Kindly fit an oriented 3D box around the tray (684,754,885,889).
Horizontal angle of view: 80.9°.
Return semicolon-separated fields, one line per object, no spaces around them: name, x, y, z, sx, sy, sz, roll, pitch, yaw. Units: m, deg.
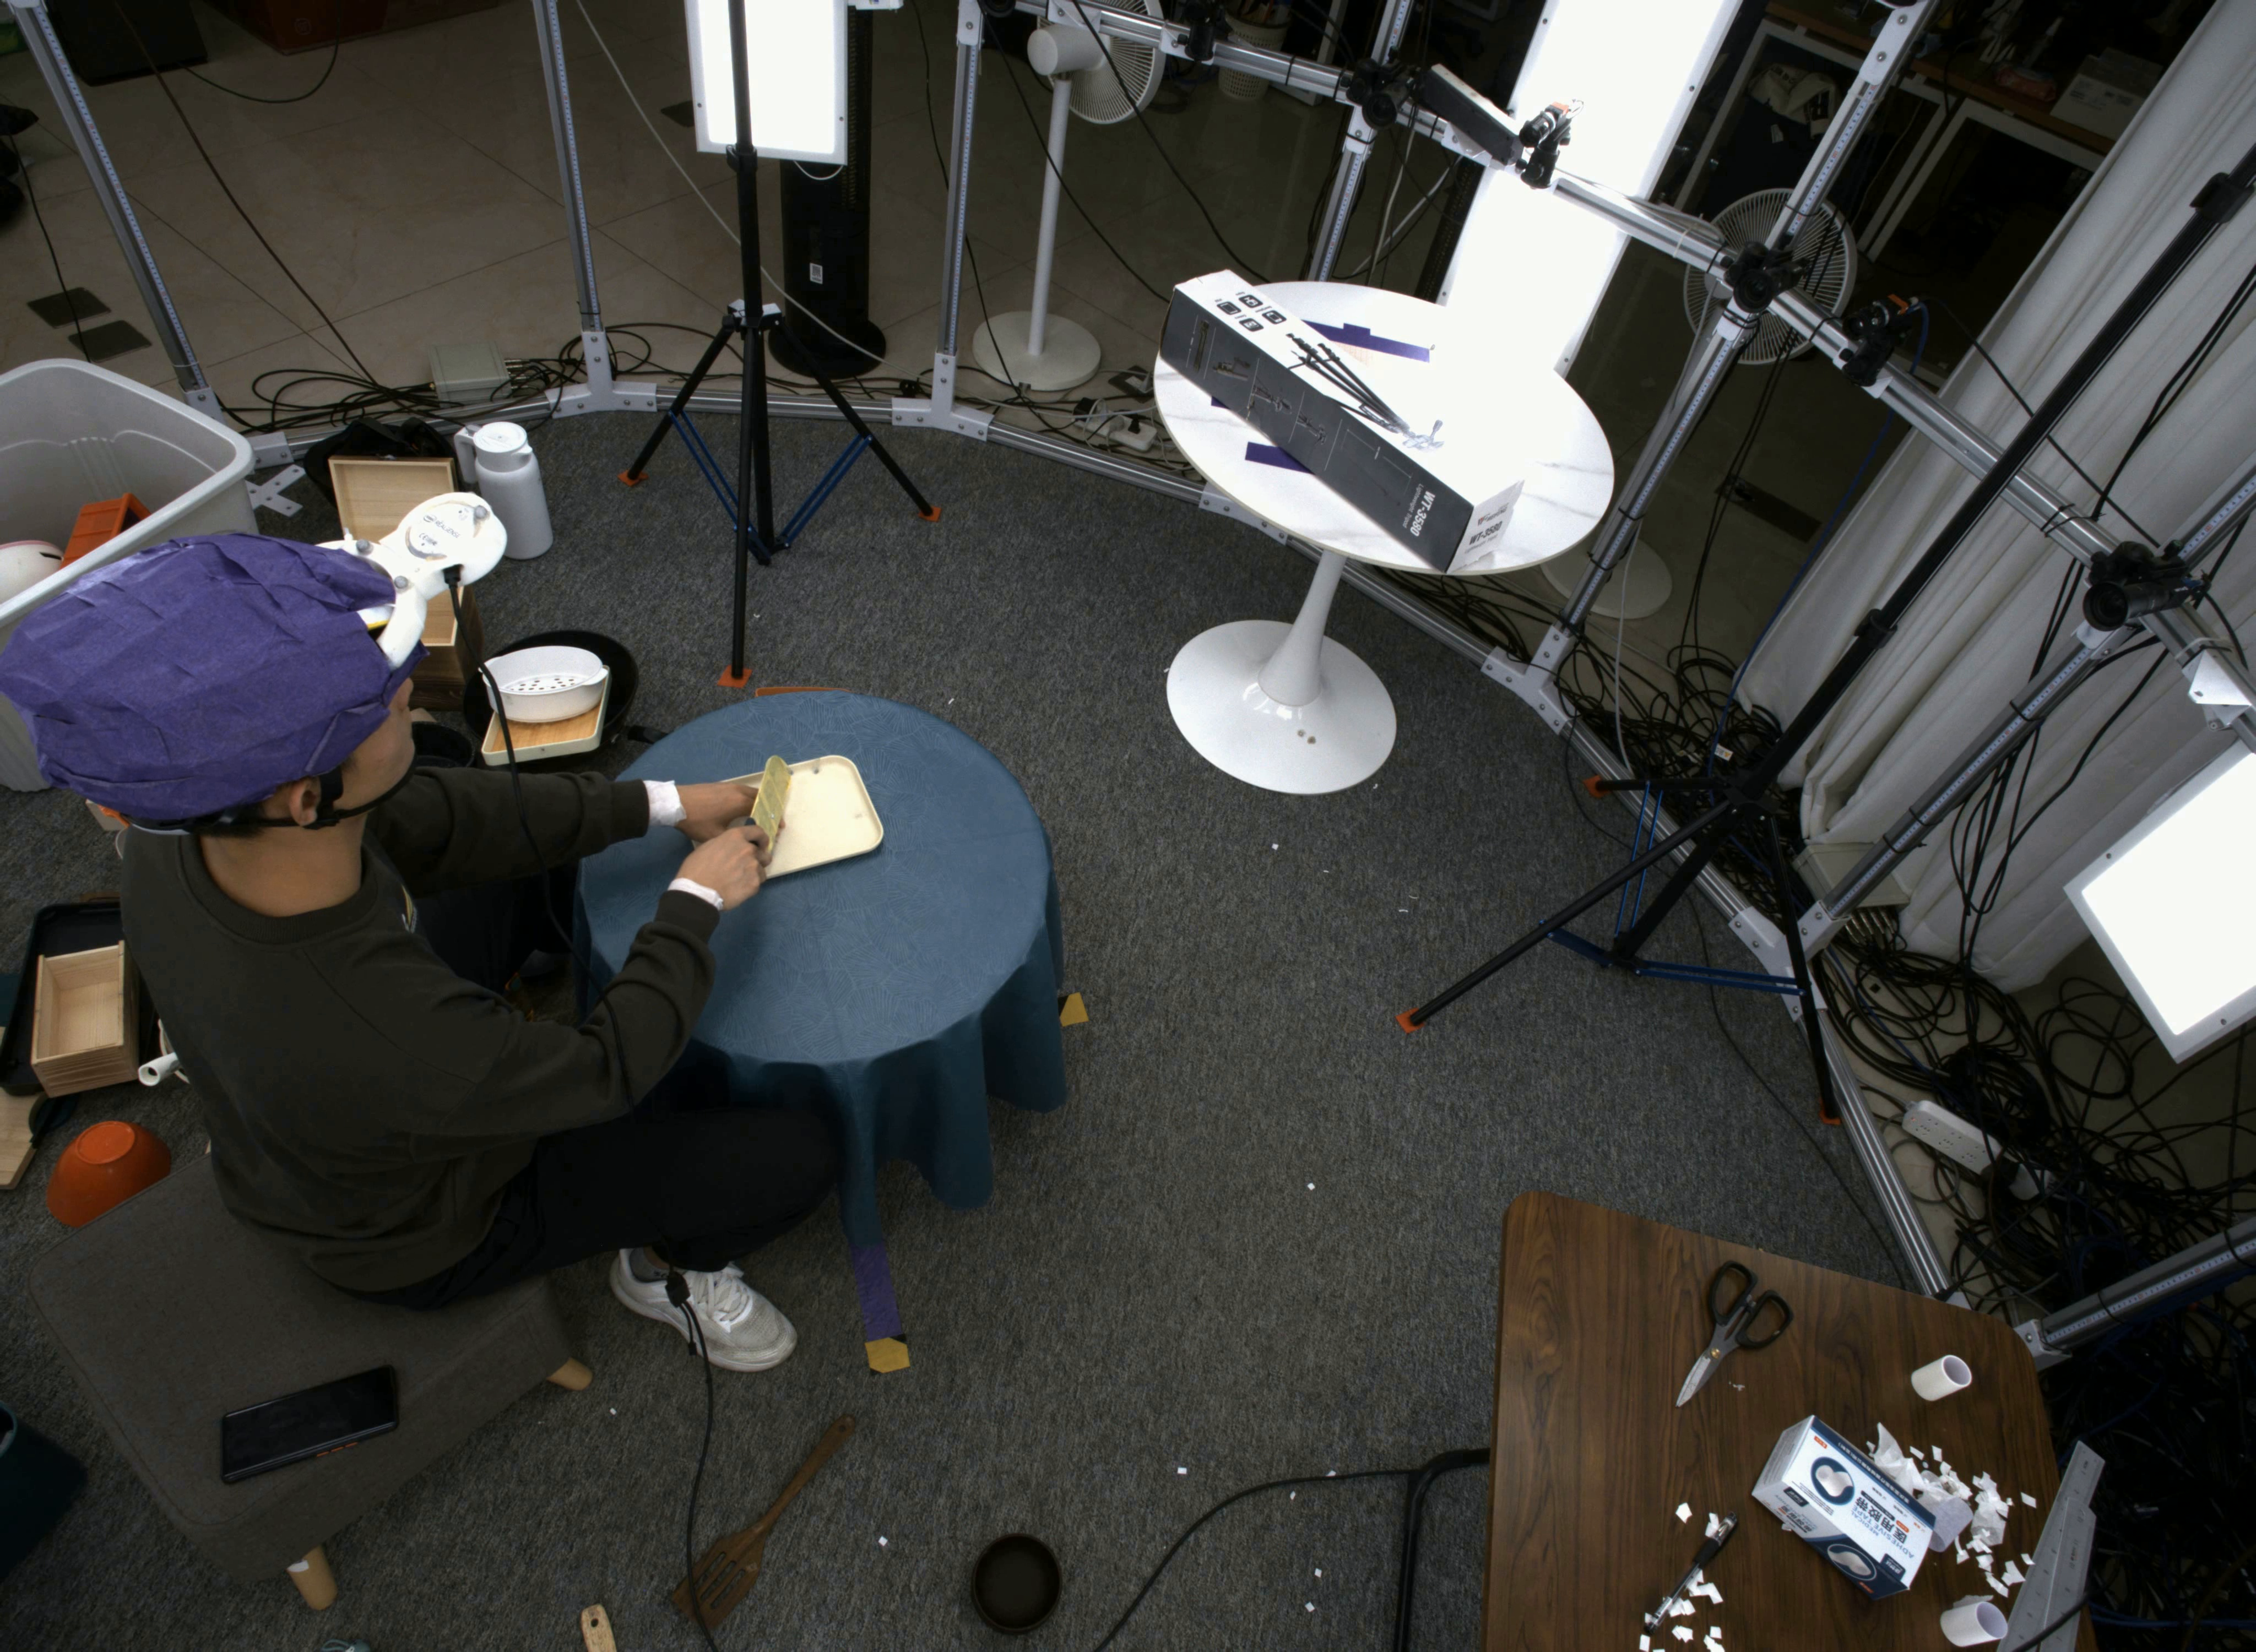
tray;-0.456;-0.007;1.721;0.241;0.018;0.167;-16;60;-24

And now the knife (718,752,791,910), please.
knife;-0.464;0.005;1.631;0.027;0.084;0.284;-5;41;9
